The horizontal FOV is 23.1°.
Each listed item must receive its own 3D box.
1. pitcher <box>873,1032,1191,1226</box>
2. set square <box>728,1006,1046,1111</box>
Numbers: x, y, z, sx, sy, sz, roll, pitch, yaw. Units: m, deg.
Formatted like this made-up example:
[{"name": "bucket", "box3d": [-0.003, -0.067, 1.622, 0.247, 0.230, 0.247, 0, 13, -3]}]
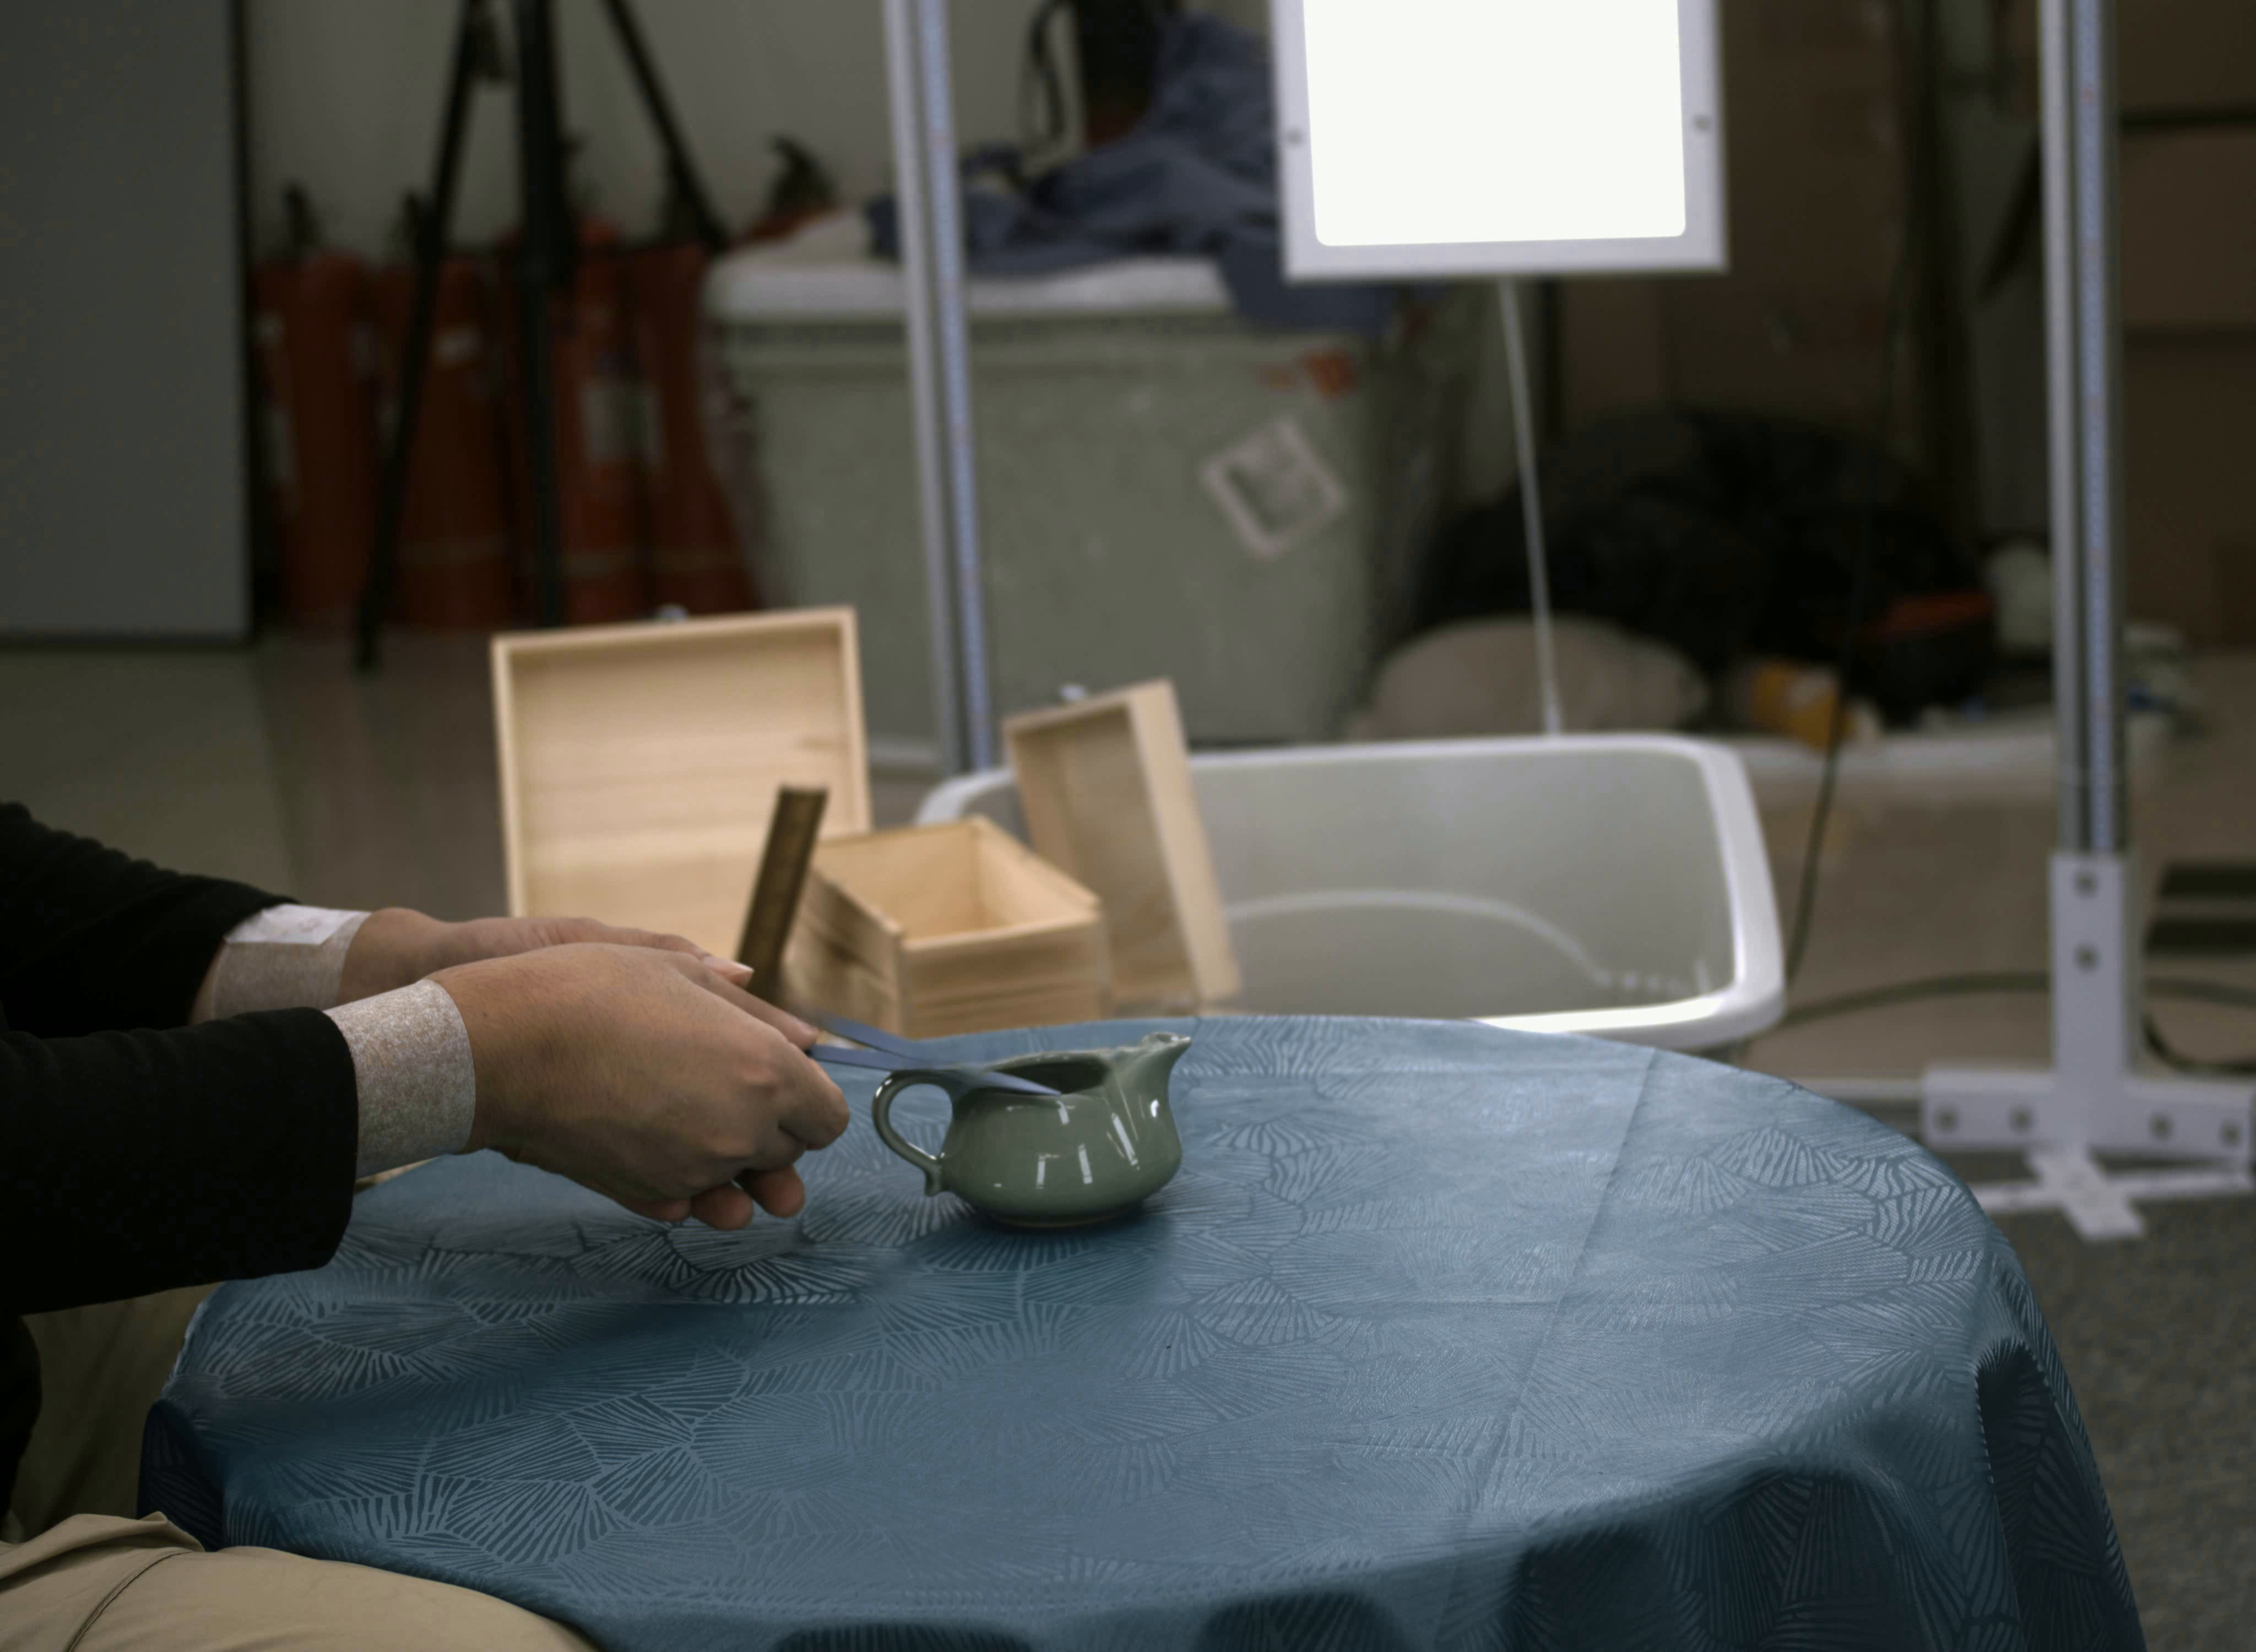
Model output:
[{"name": "pitcher", "box3d": [-0.031, 0.104, 1.884, 0.111, 0.056, 0.085, -7, 12, -9]}, {"name": "set square", "box3d": [-0.089, 0.080, 1.863, 0.059, 0.006, 0.134, -7, 18, -42]}]
